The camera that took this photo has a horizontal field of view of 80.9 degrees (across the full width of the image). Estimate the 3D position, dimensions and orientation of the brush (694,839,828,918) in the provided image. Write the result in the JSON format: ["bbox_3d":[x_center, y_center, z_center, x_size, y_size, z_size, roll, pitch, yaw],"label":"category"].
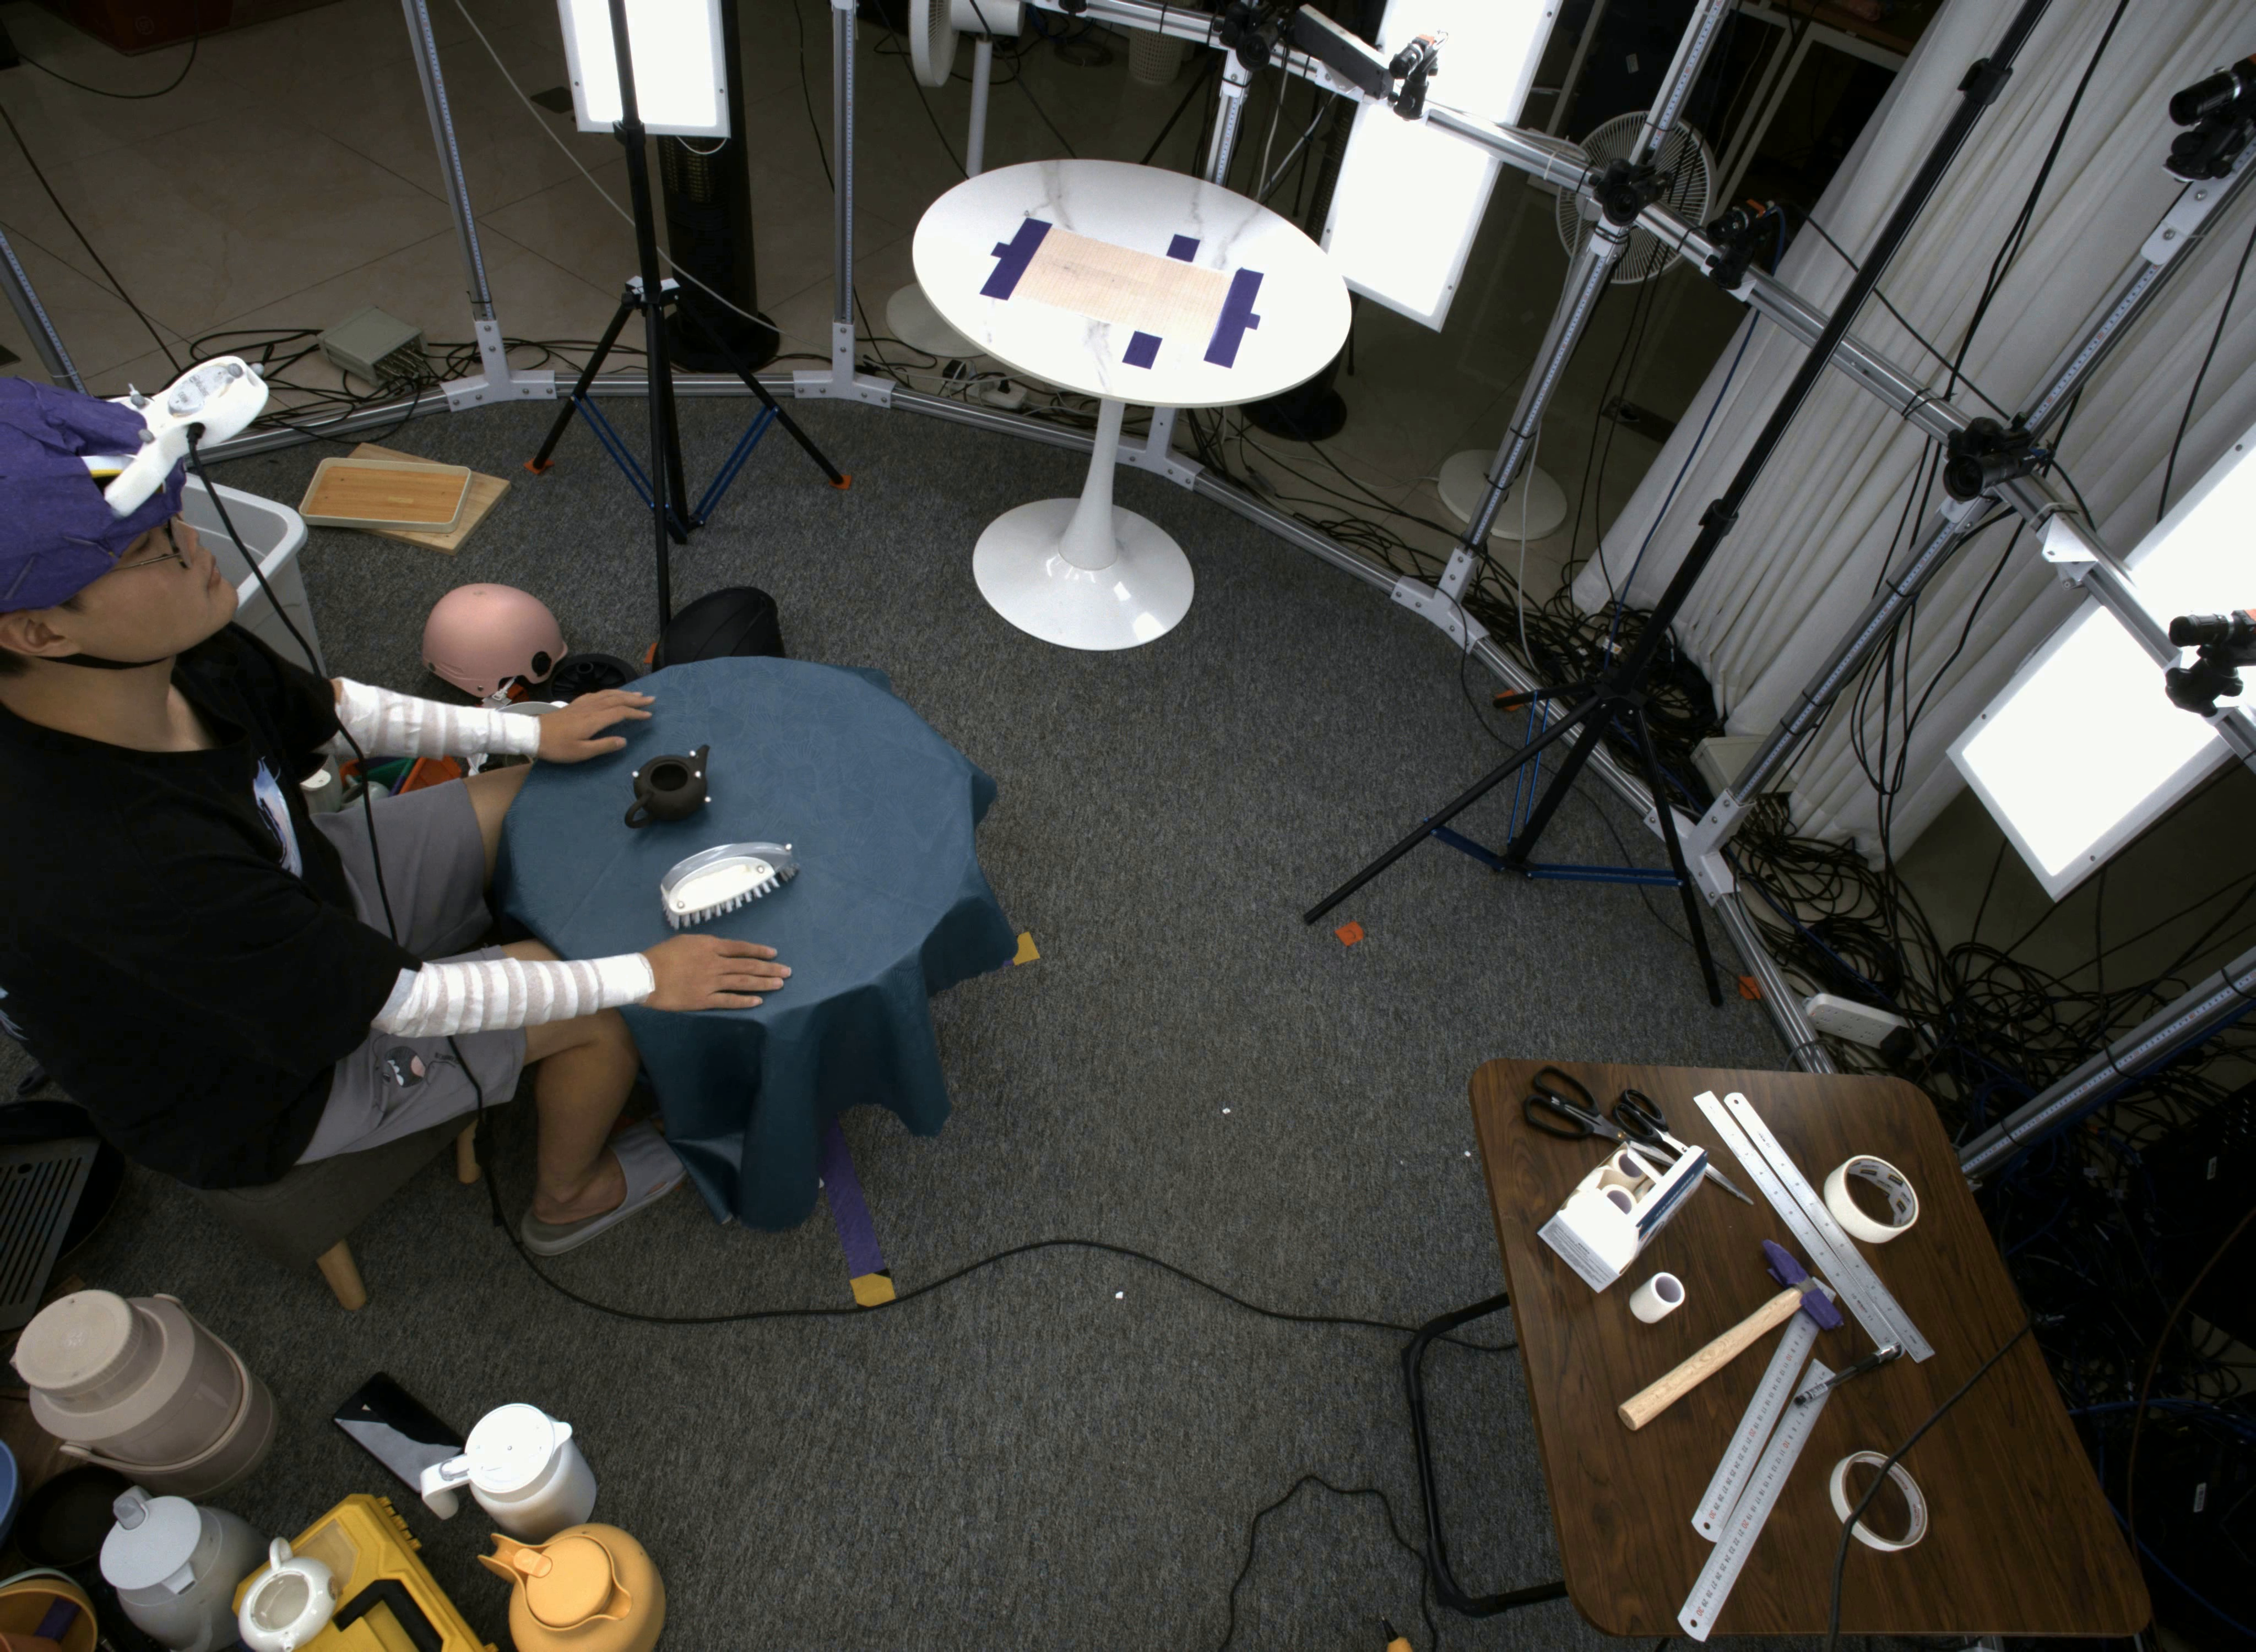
[{"bbox_3d":[-0.460,0.048,1.632,0.176,0.096,0.060,-18,63,-26],"label":"brush"}]

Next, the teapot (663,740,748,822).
[{"bbox_3d":[-0.555,-0.057,1.702,0.090,0.066,0.154,33,52,13],"label":"teapot"}]
